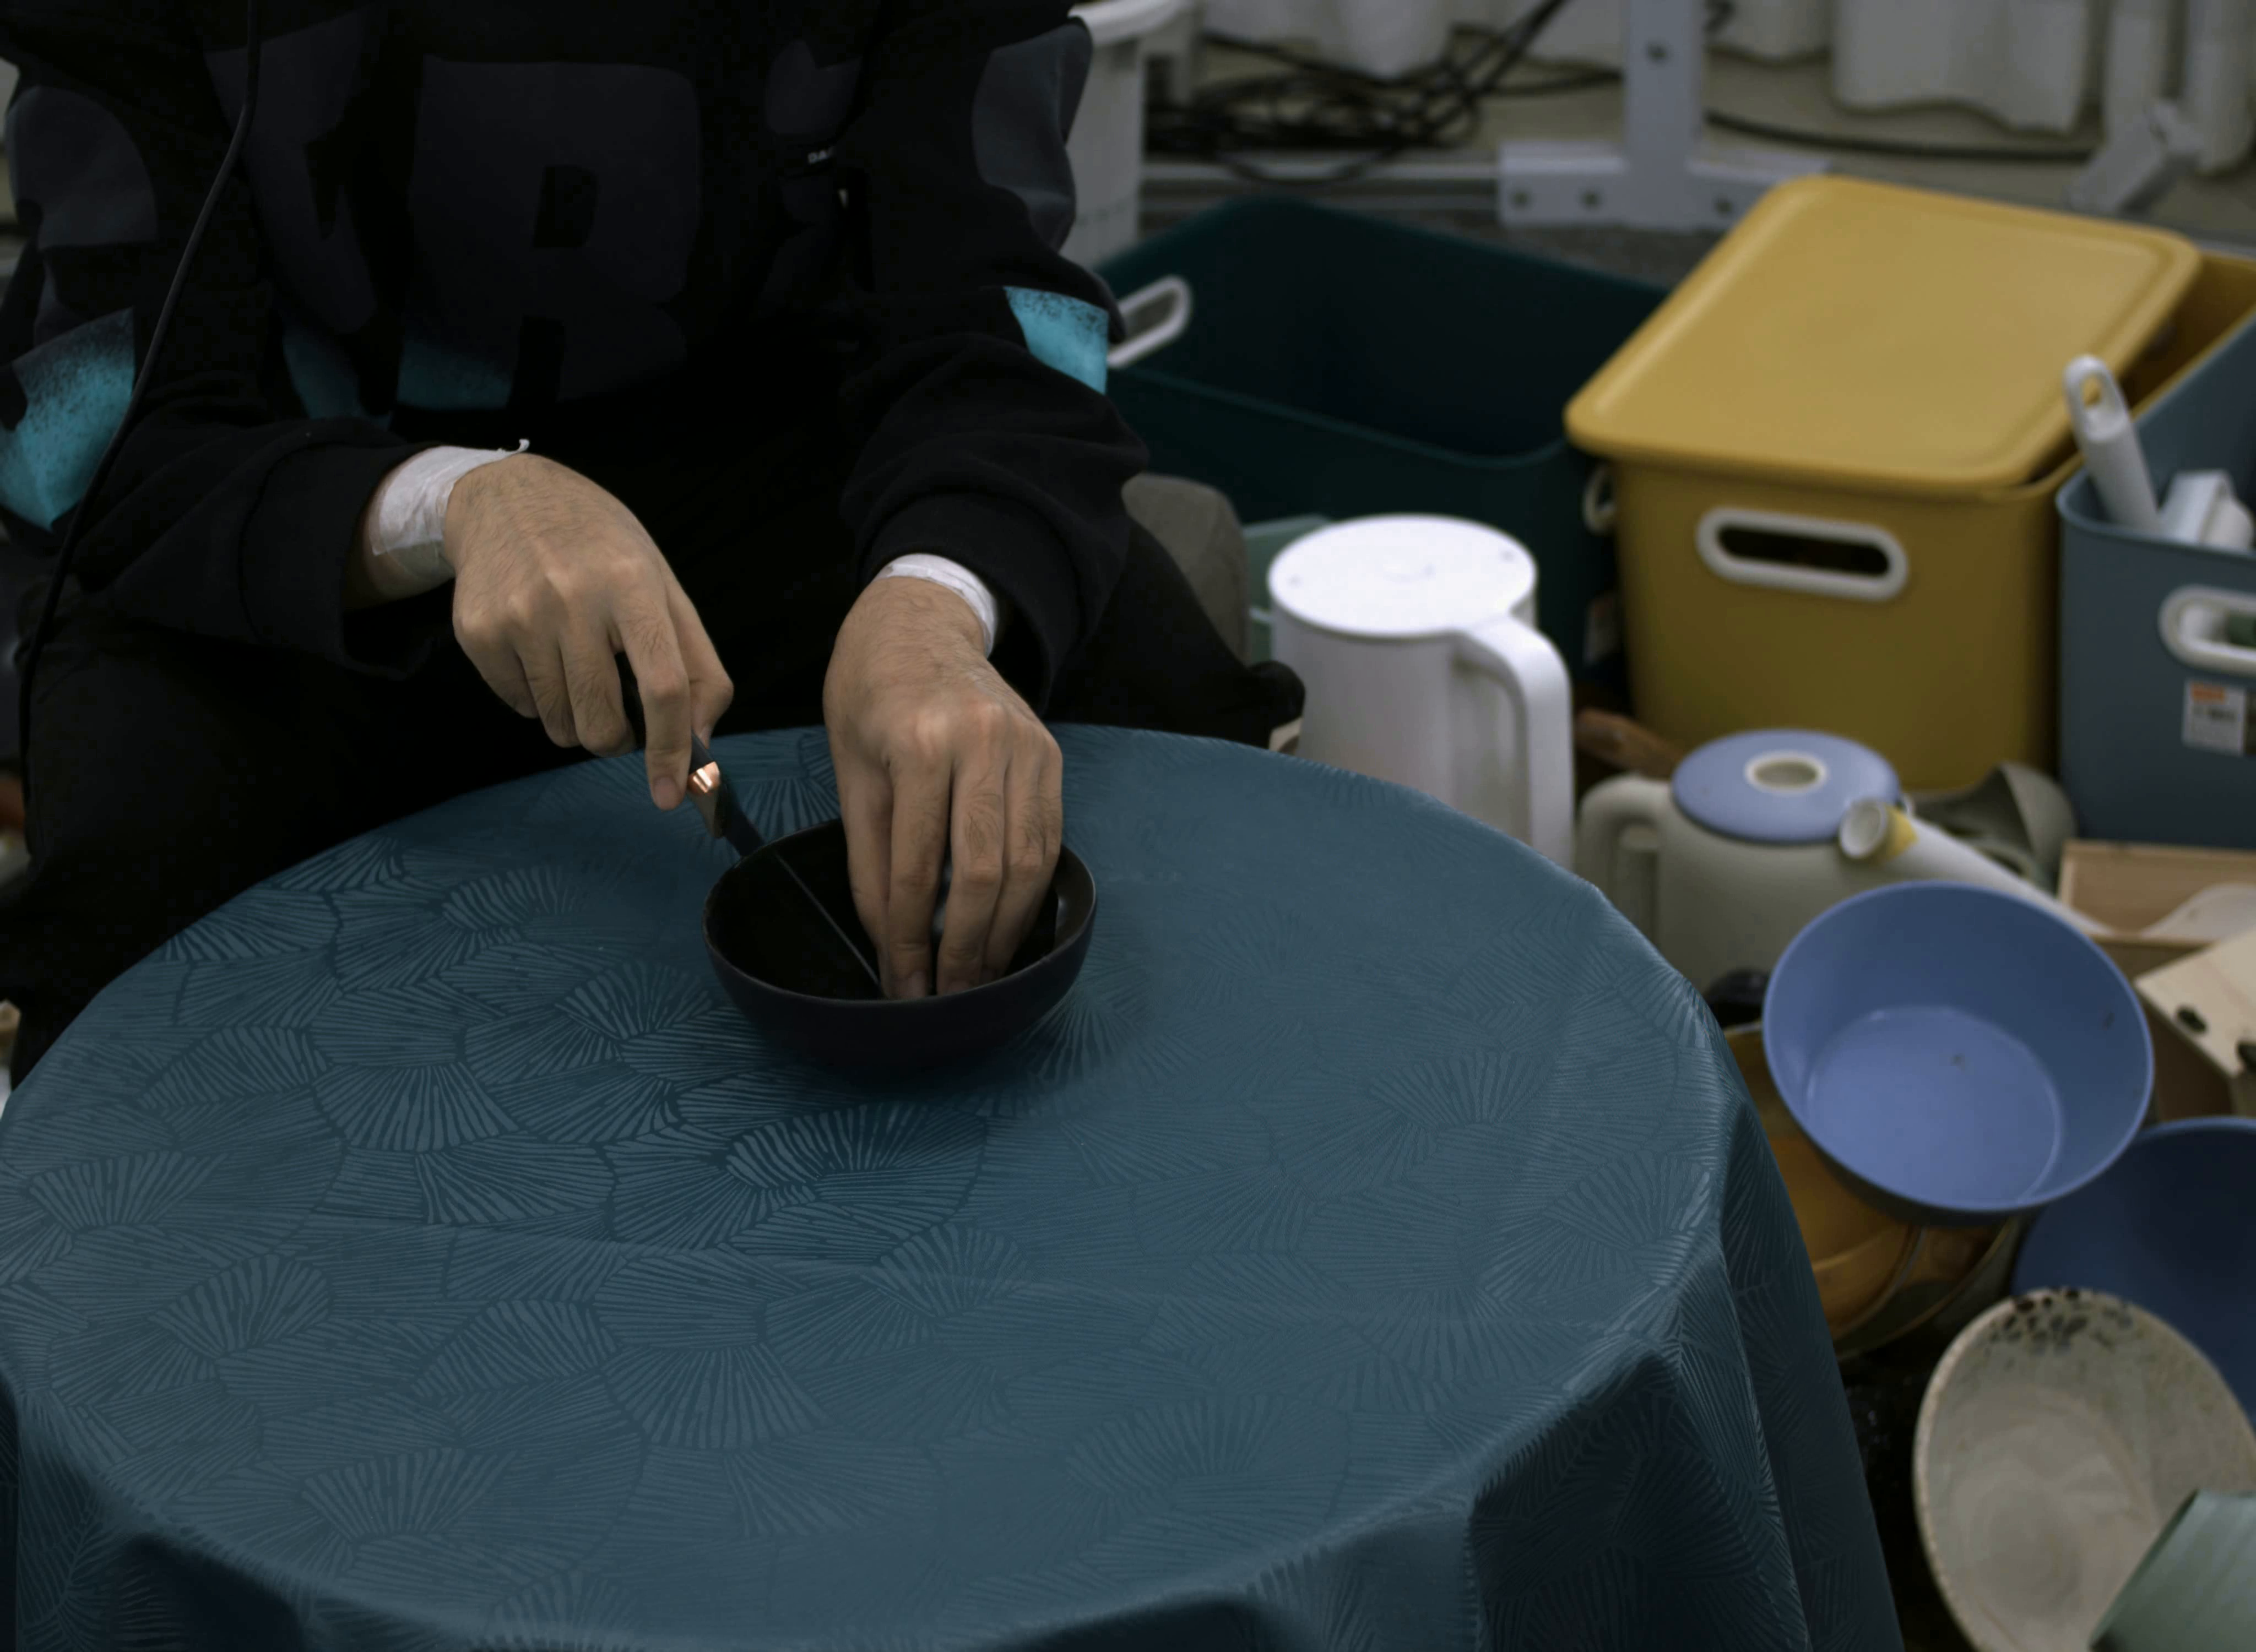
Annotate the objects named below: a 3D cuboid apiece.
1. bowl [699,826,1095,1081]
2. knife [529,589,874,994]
[{"bbox_3d":[-0.078,0.051,1.959,0.139,0.049,0.142,-5,24,3],"label":"bowl"},{"bbox_3d":[-0.141,0.001,1.972,0.017,0.026,0.227,-30,67,-29],"label":"knife"}]
